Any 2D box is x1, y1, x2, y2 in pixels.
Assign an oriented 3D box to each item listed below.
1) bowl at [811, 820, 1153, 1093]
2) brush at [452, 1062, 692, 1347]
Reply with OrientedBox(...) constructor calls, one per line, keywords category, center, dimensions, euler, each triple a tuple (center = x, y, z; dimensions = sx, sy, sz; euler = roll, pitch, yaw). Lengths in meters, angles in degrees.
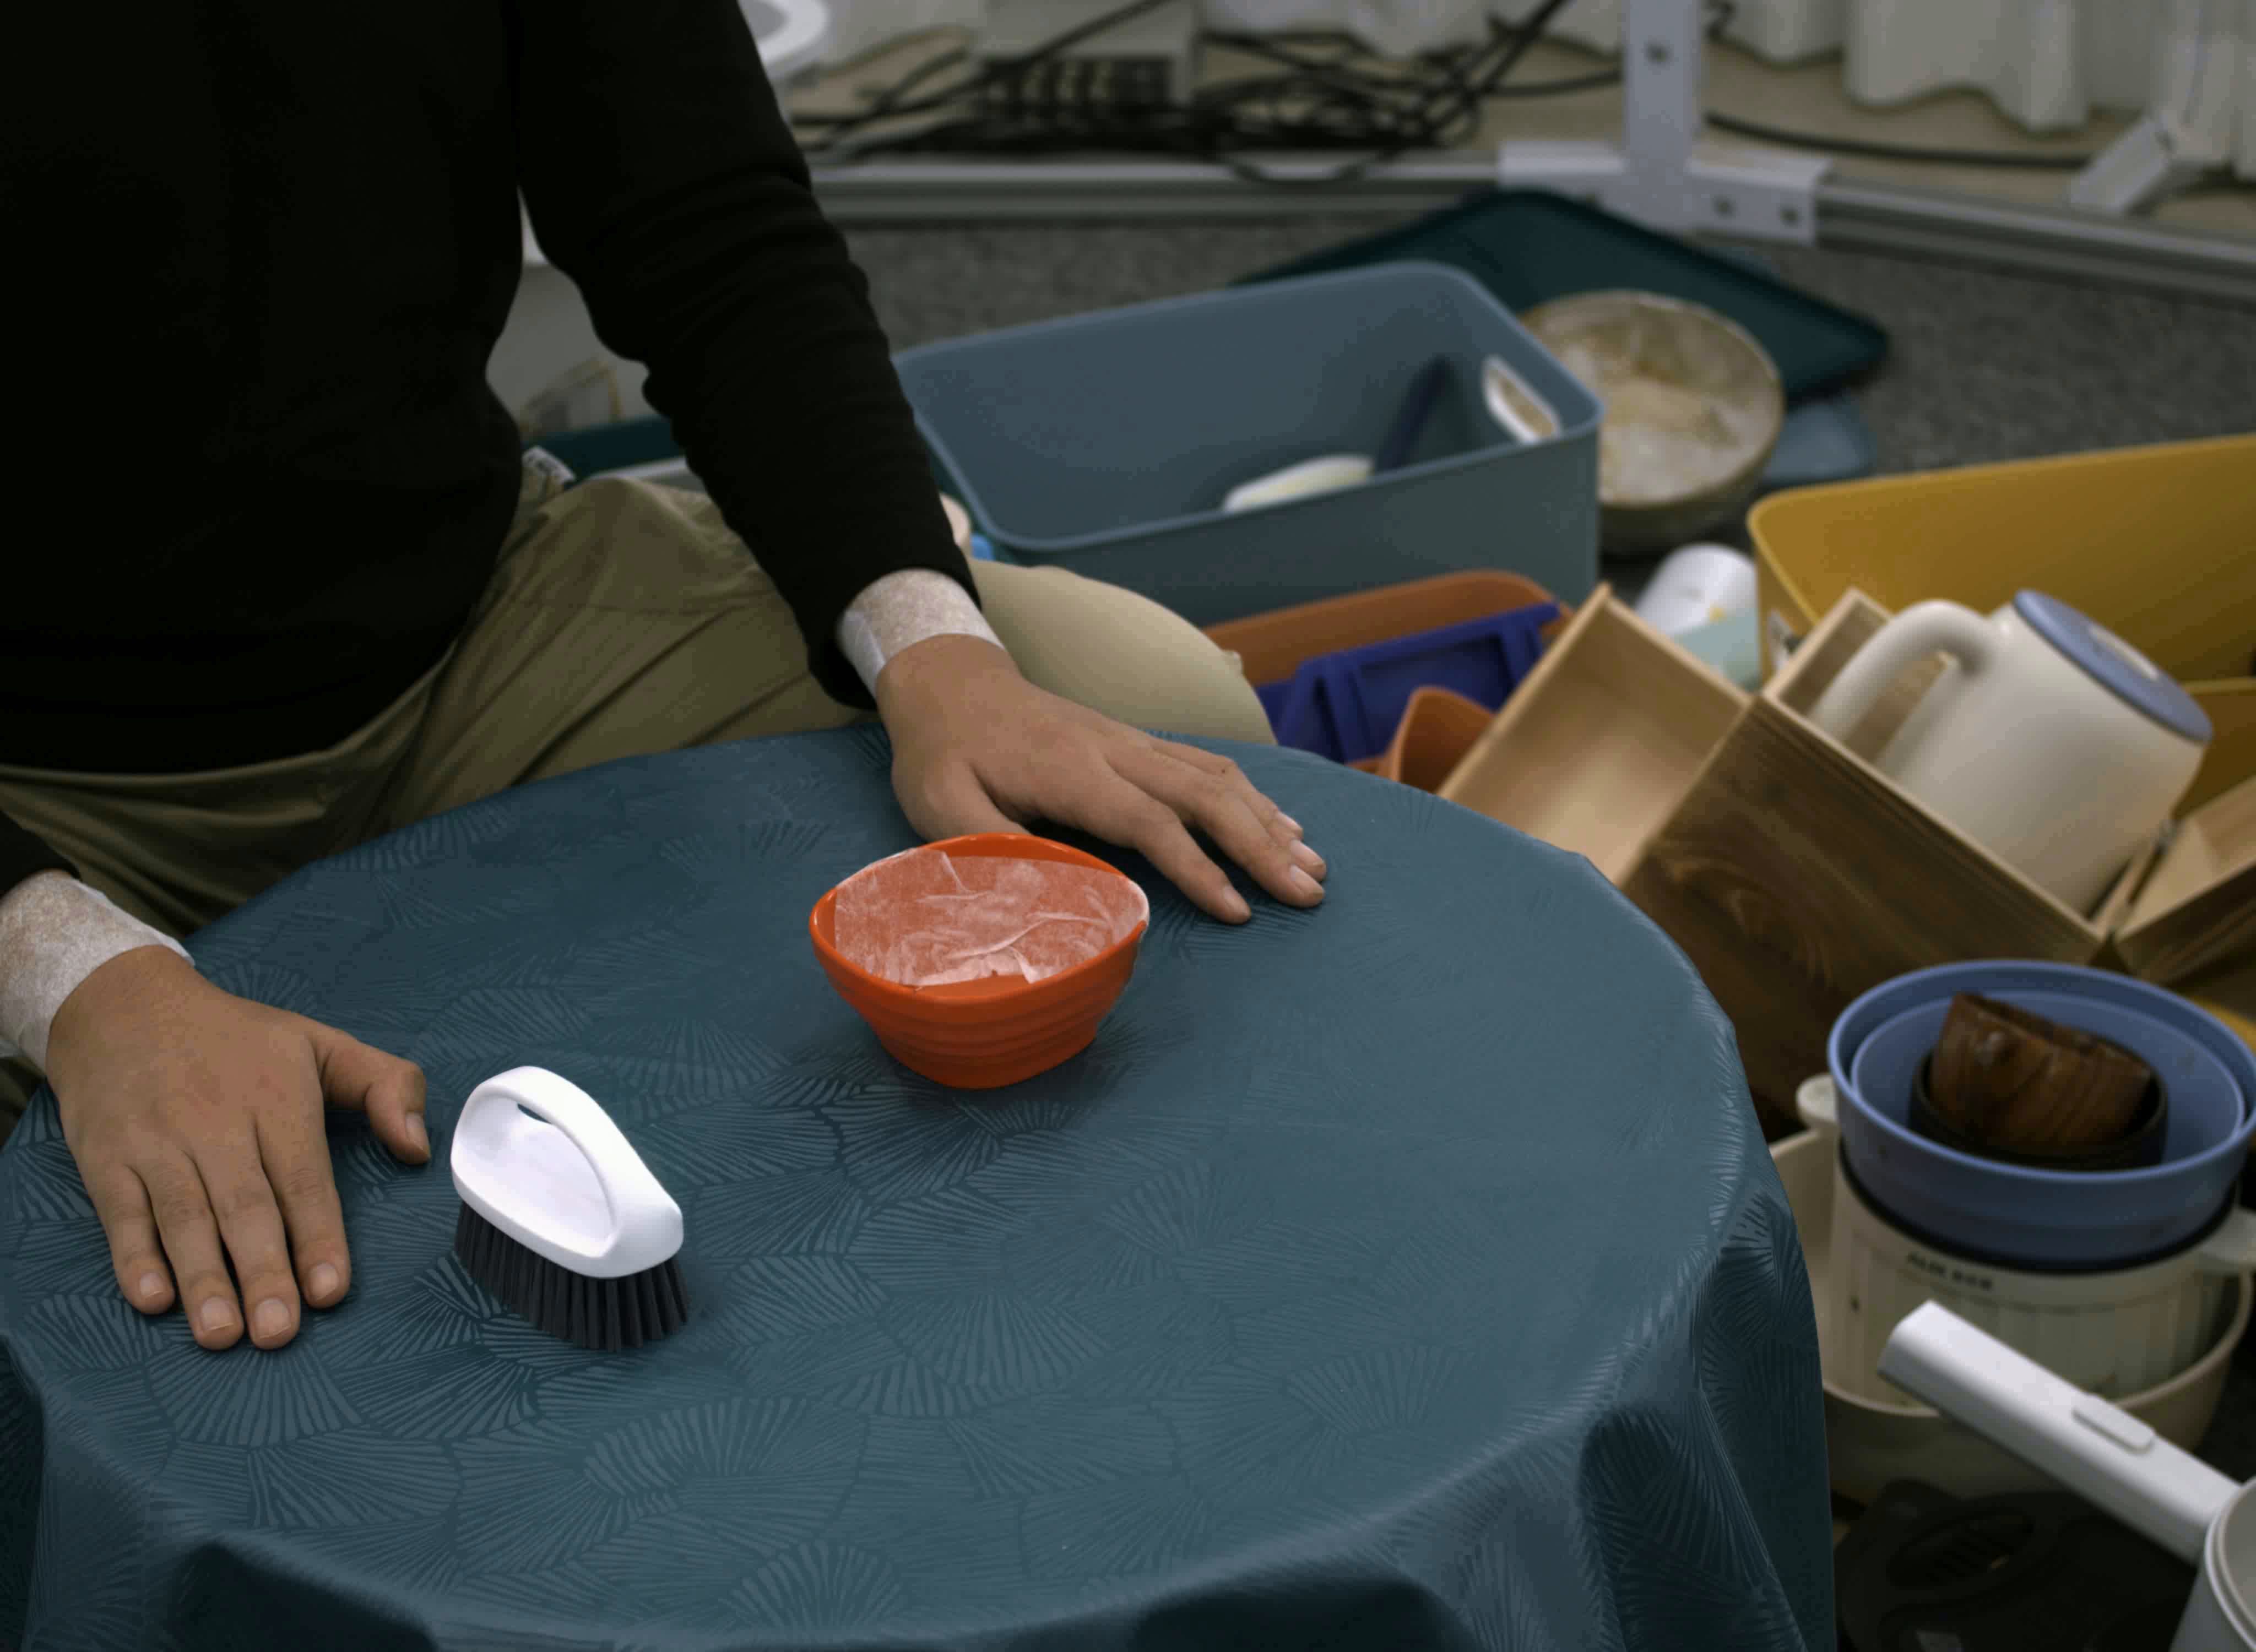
OrientedBox(category="bowl", center=(-0.050, 0.050, 1.946), dimensions=(0.118, 0.051, 0.121), euler=(-1, 32, 1))
OrientedBox(category="brush", center=(-0.182, 0.116, 1.811), dimensions=(0.051, 0.072, 0.099), euler=(-21, 32, -32))
